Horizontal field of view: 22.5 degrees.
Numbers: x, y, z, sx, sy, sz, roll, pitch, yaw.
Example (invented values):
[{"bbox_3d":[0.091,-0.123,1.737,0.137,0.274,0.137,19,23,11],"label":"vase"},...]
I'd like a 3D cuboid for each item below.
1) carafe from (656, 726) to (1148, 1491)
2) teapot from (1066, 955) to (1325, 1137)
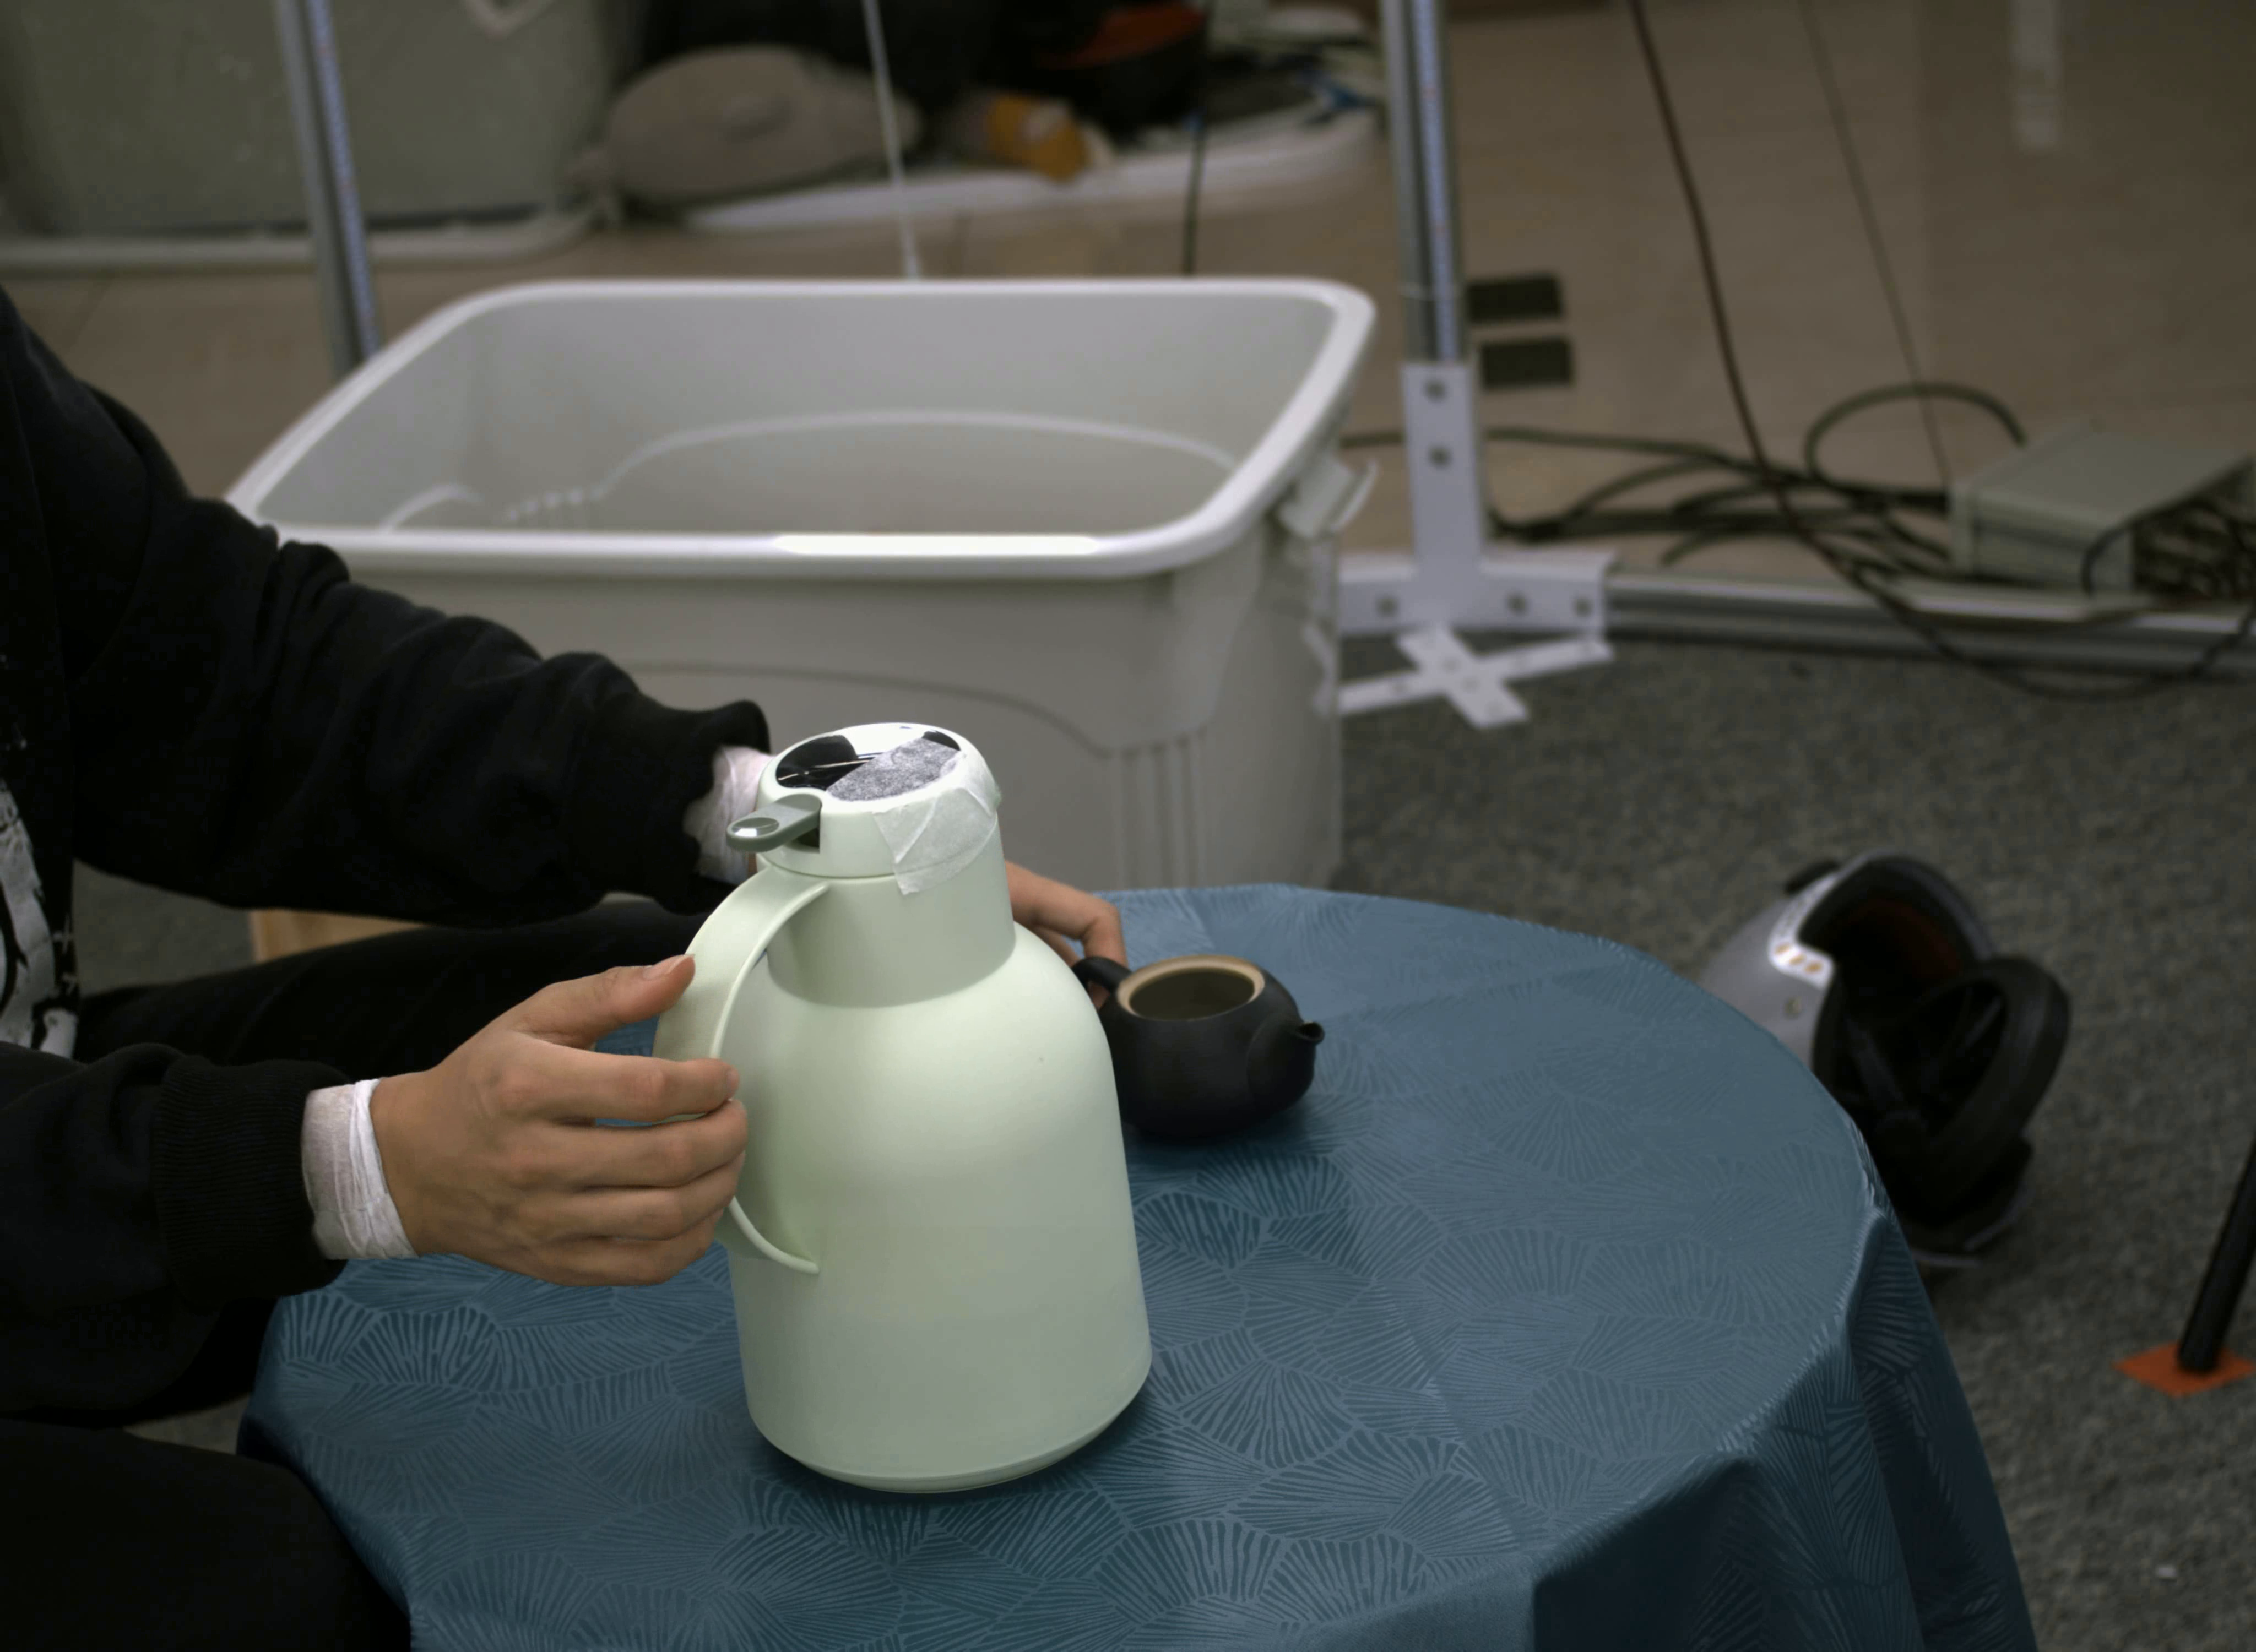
[{"bbox_3d":[-0.084,0.099,1.957,0.143,0.261,0.185,15,36,36],"label":"carafe"},{"bbox_3d":[0.027,0.085,2.194,0.132,0.054,0.090,17,32,40],"label":"teapot"}]
